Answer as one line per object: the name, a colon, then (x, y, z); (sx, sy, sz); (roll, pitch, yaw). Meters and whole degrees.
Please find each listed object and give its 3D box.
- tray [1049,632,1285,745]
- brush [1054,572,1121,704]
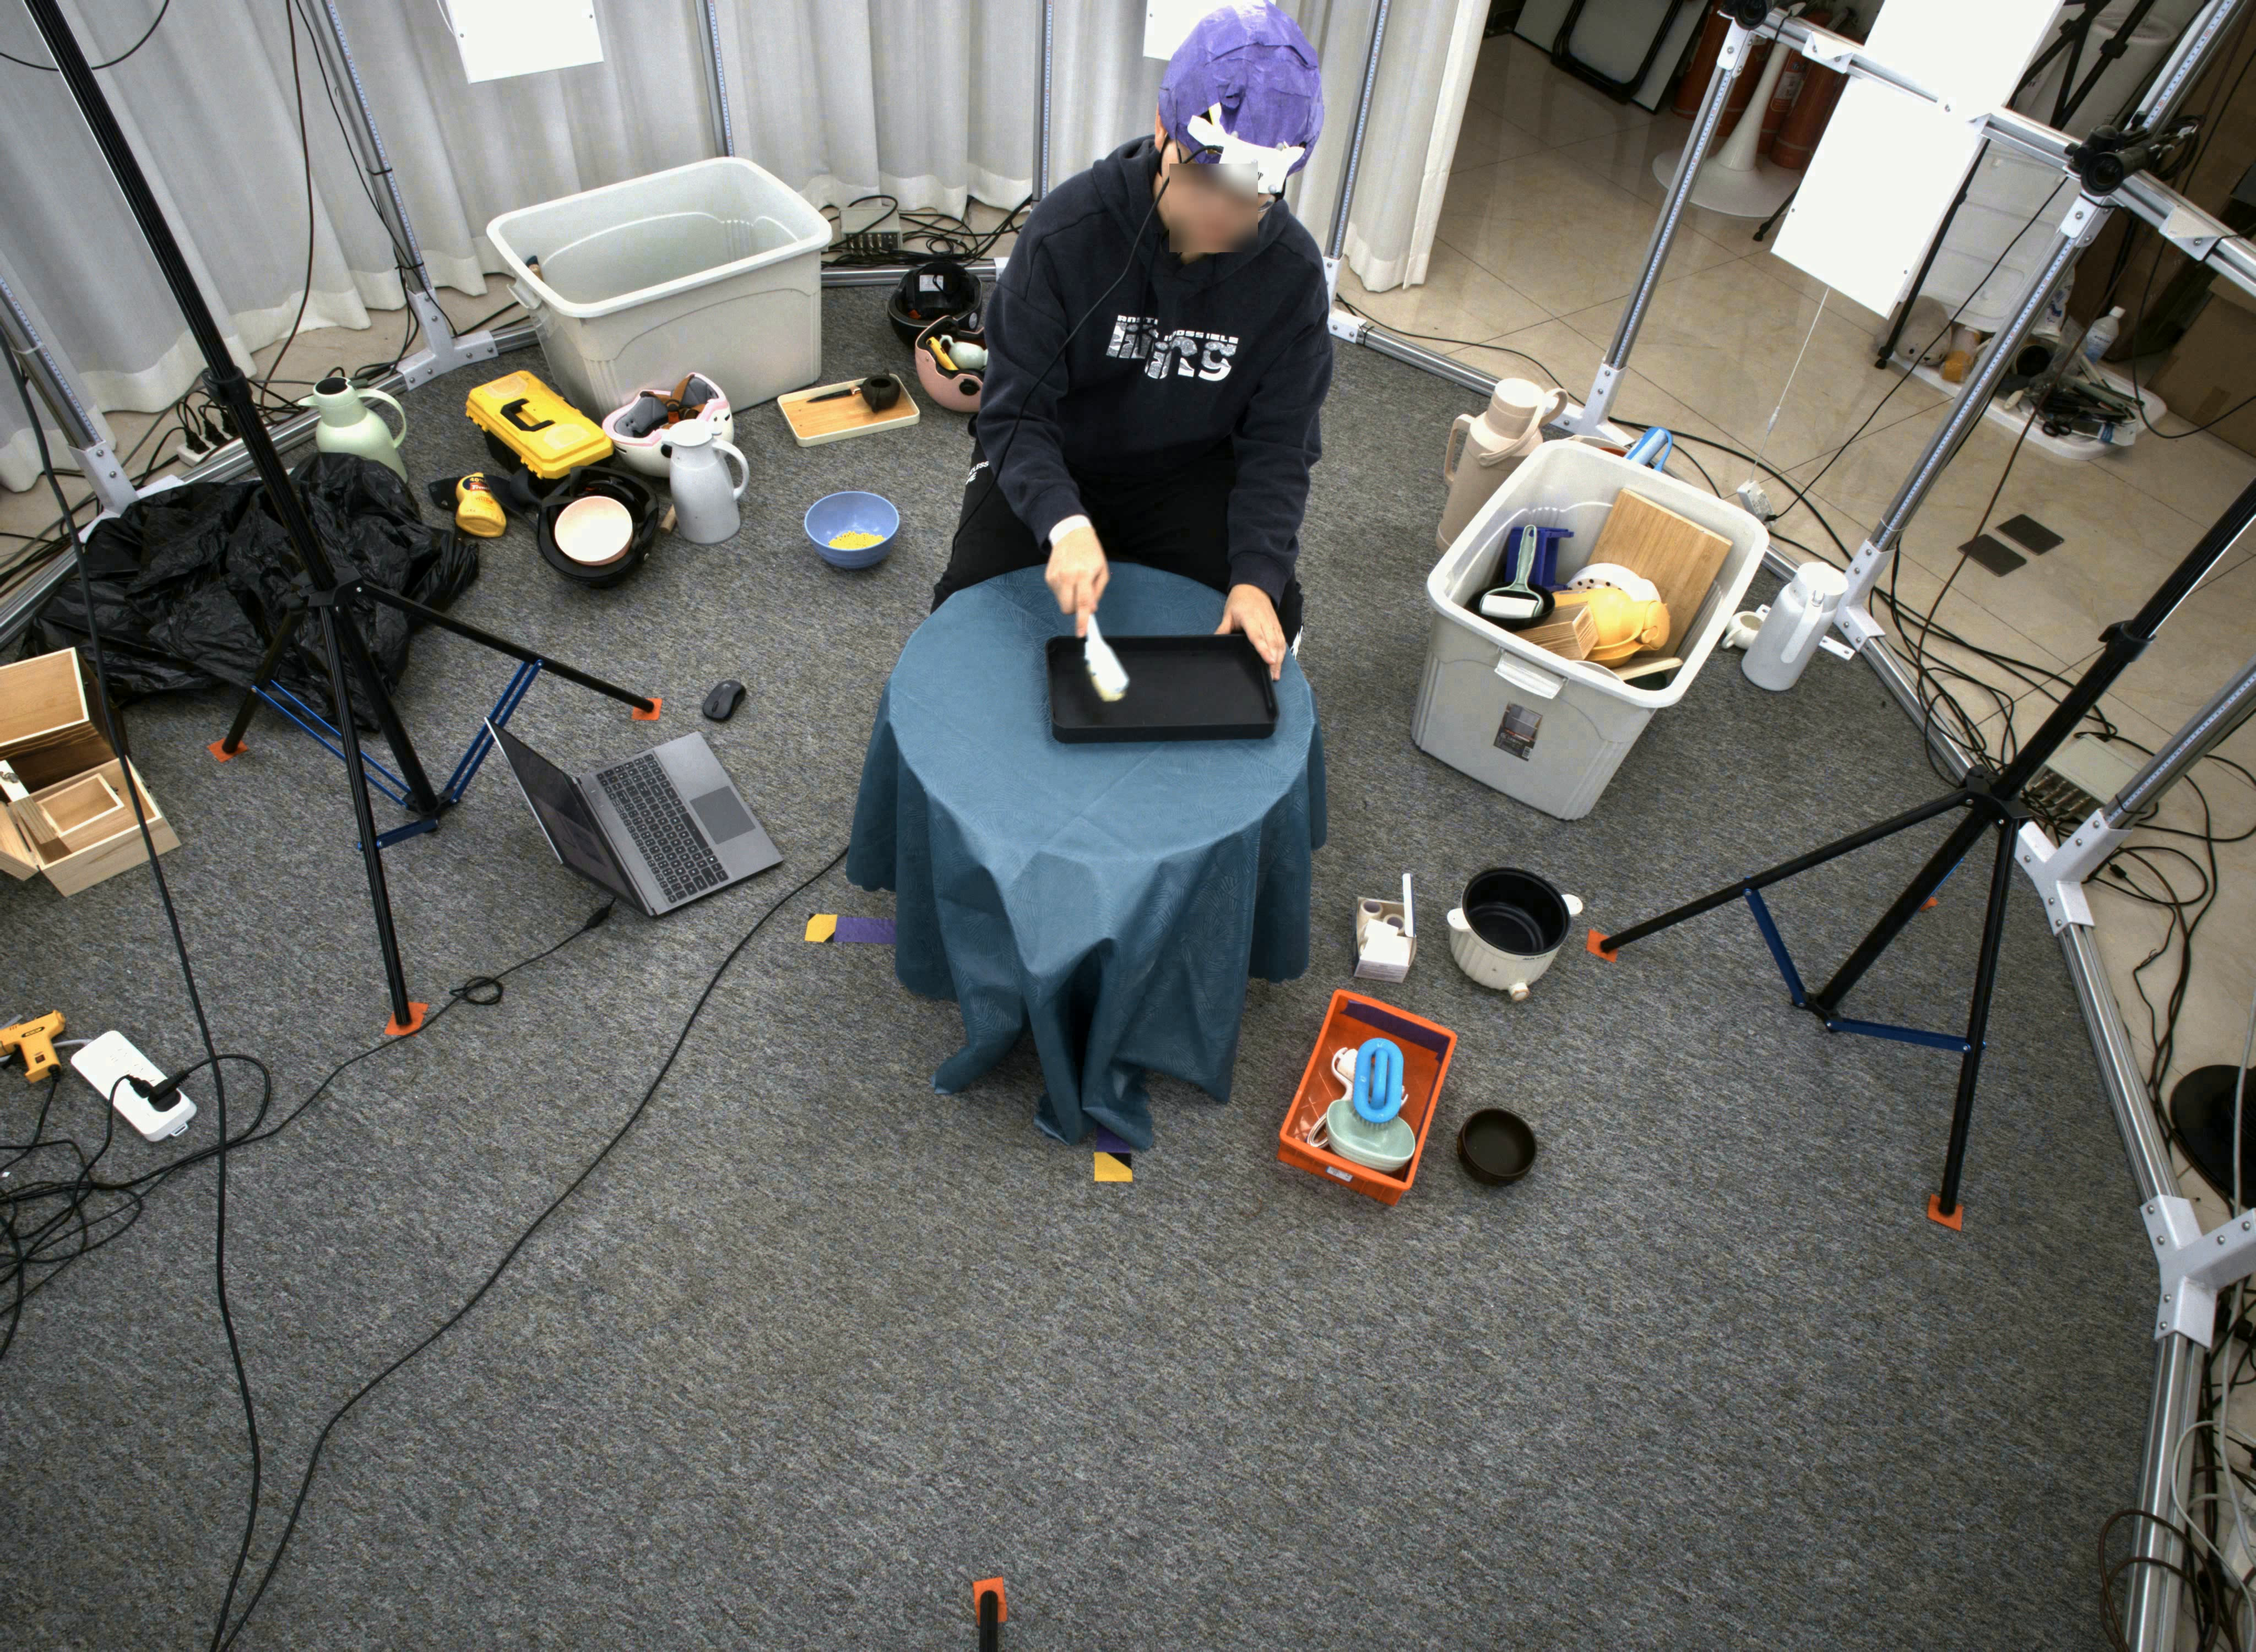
tray: (0.051, -0.197, 1.817); (0.317, 0.036, 0.189); (-3, 49, -7)
brush: (-0.062, -0.266, 1.795); (0.038, 0.048, 0.233); (-11, 60, -20)
